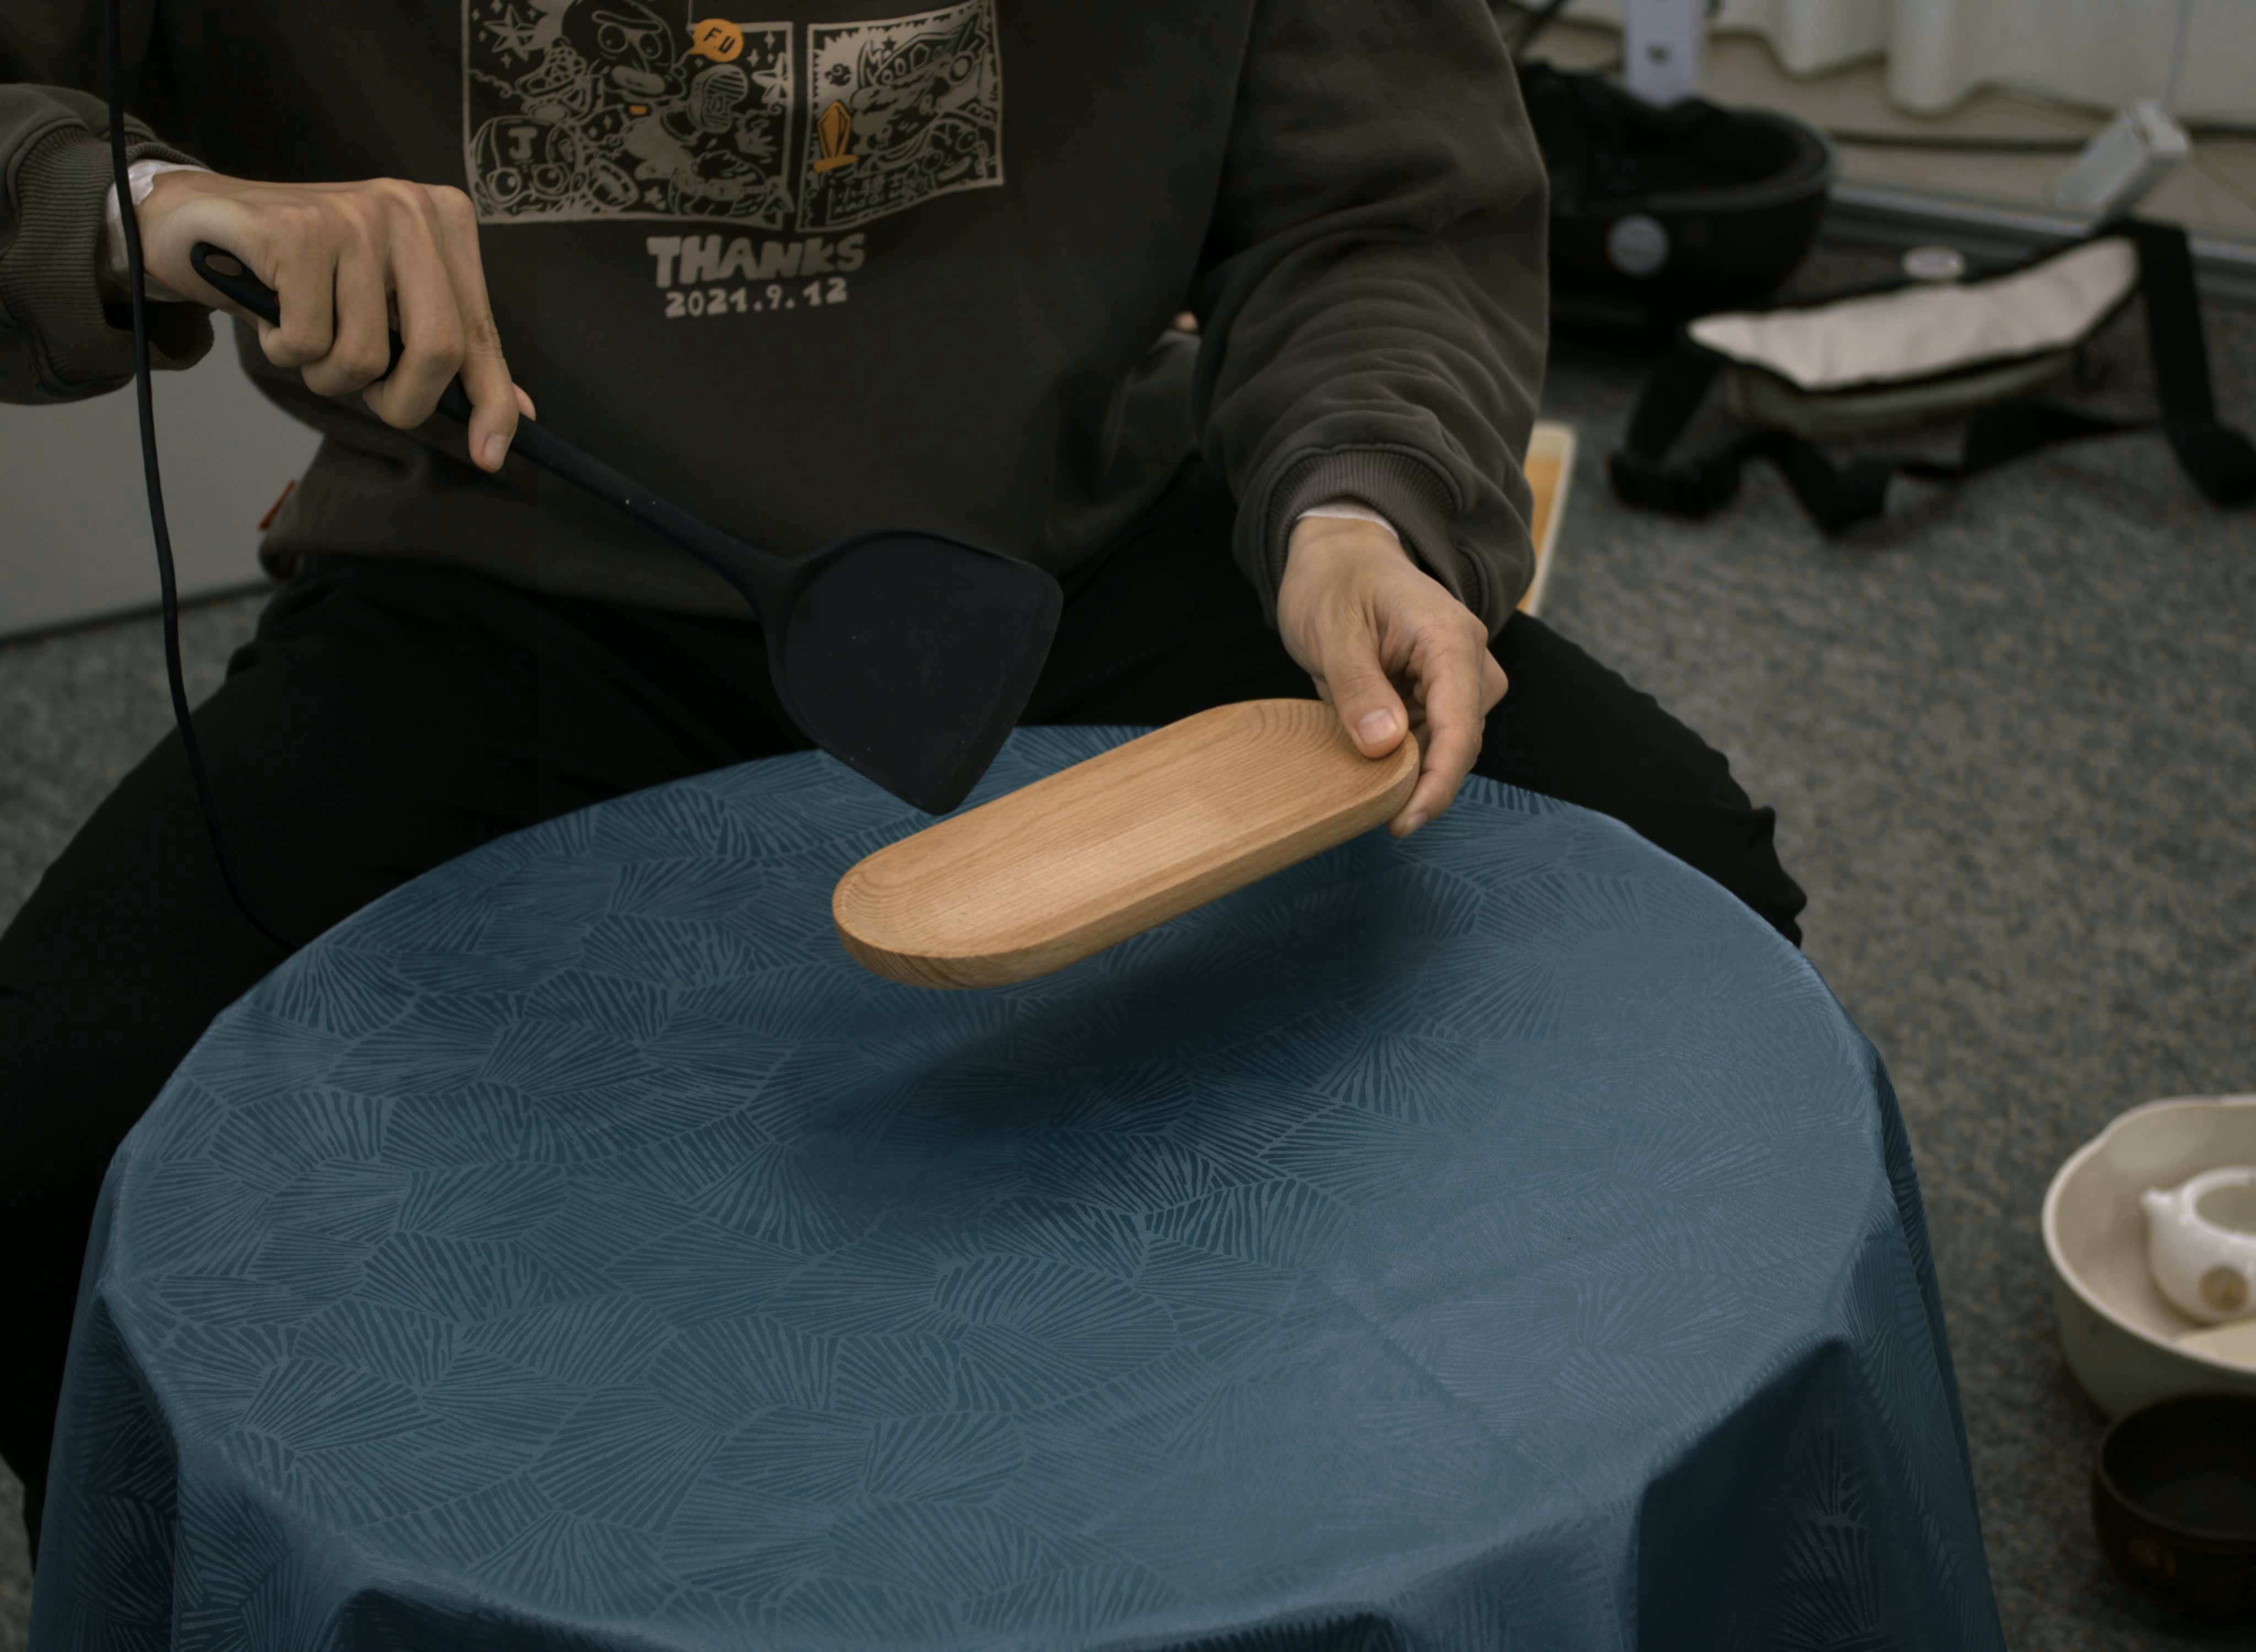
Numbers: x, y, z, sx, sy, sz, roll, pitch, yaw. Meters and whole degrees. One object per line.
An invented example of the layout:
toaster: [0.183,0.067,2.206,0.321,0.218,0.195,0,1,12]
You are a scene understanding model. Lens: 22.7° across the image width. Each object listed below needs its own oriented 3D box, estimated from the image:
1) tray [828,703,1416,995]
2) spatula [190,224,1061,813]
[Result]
tray: [0.000,0.007,1.924,0.233,0.020,0.101,-25,31,-33]
spatula: [-0.178,-0.120,1.941,0.325,0.101,0.040,31,-17,-16]
